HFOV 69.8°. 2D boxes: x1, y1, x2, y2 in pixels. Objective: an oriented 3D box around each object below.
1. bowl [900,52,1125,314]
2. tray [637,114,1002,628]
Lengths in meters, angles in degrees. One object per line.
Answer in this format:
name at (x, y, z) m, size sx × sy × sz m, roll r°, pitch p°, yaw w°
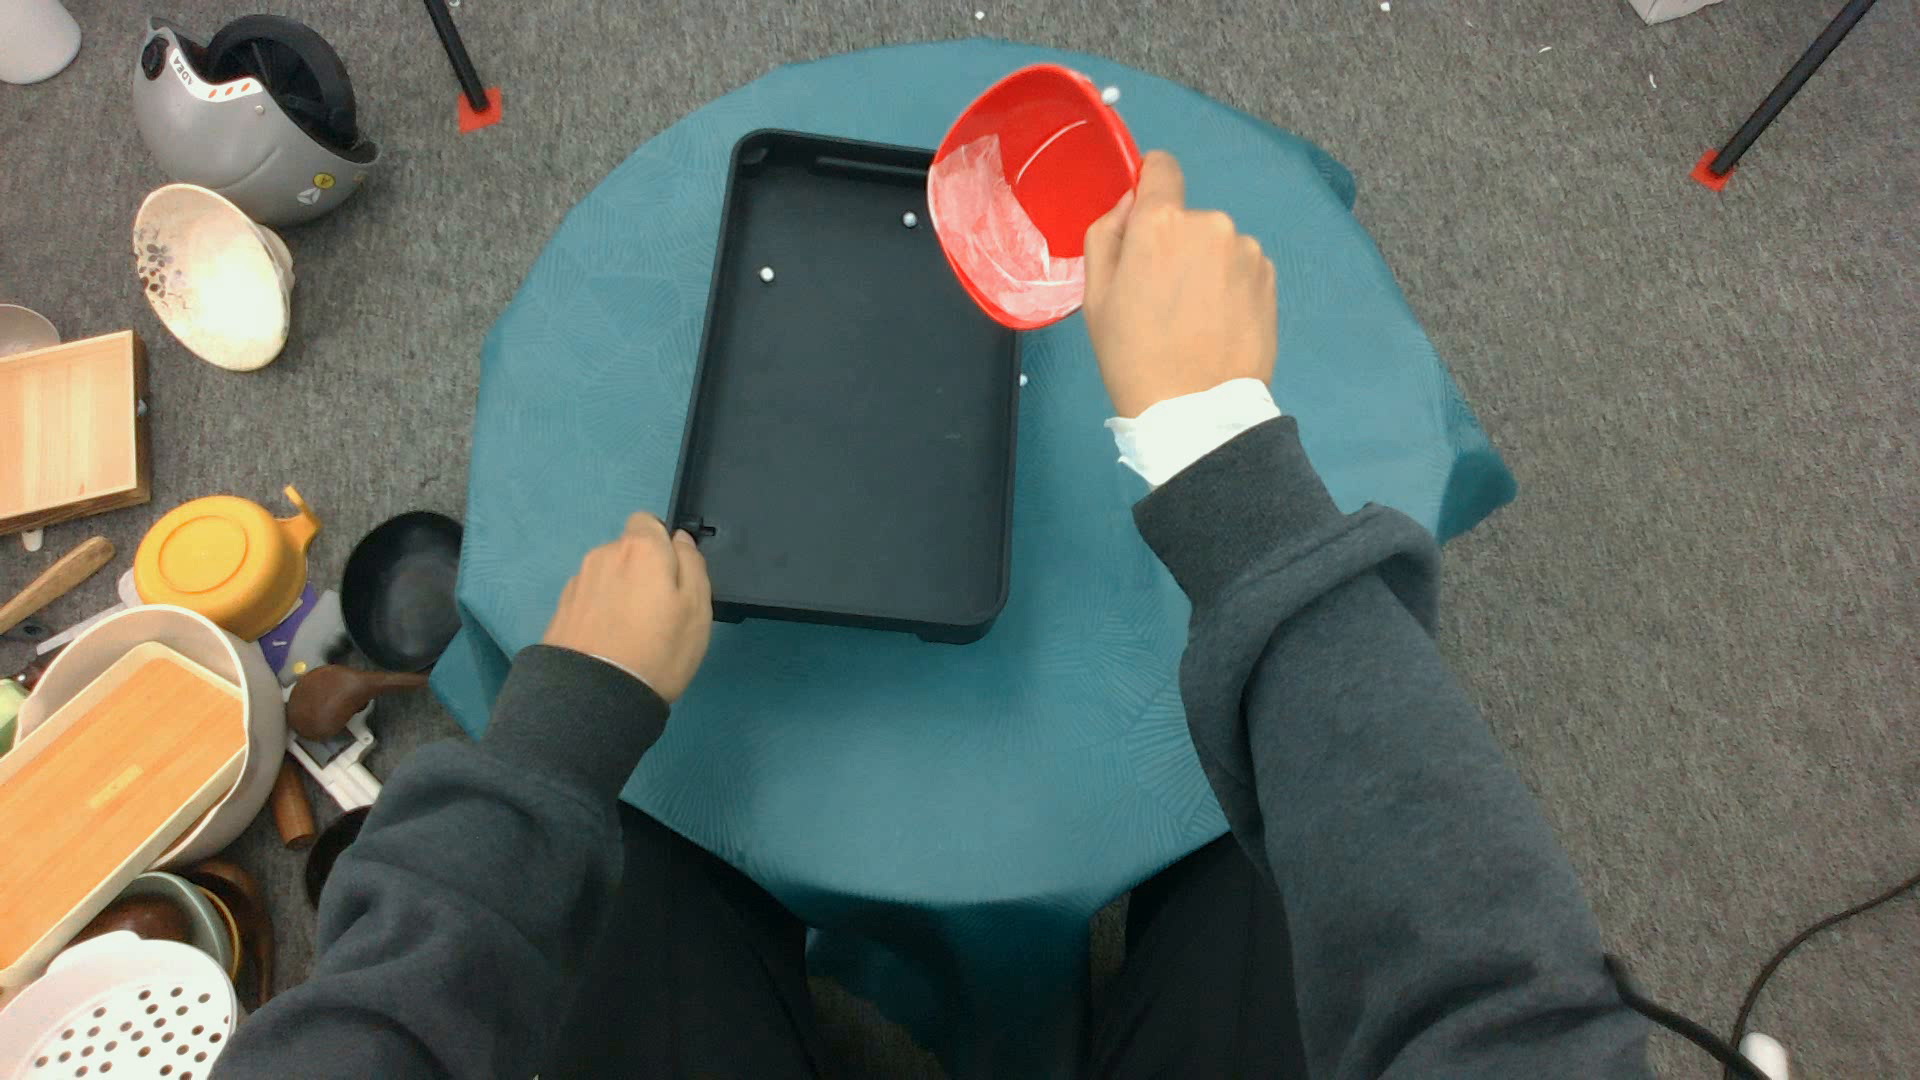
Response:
bowl at (0.033, -0.170, 0.658) m, size 0.119 × 0.118 × 0.051 m, roll 46°, pitch 35°, yaw 18°
tray at (-0.070, -0.105, 0.789) m, size 0.184 × 0.037 × 0.319 m, roll 6°, pitch 63°, yaw -5°
